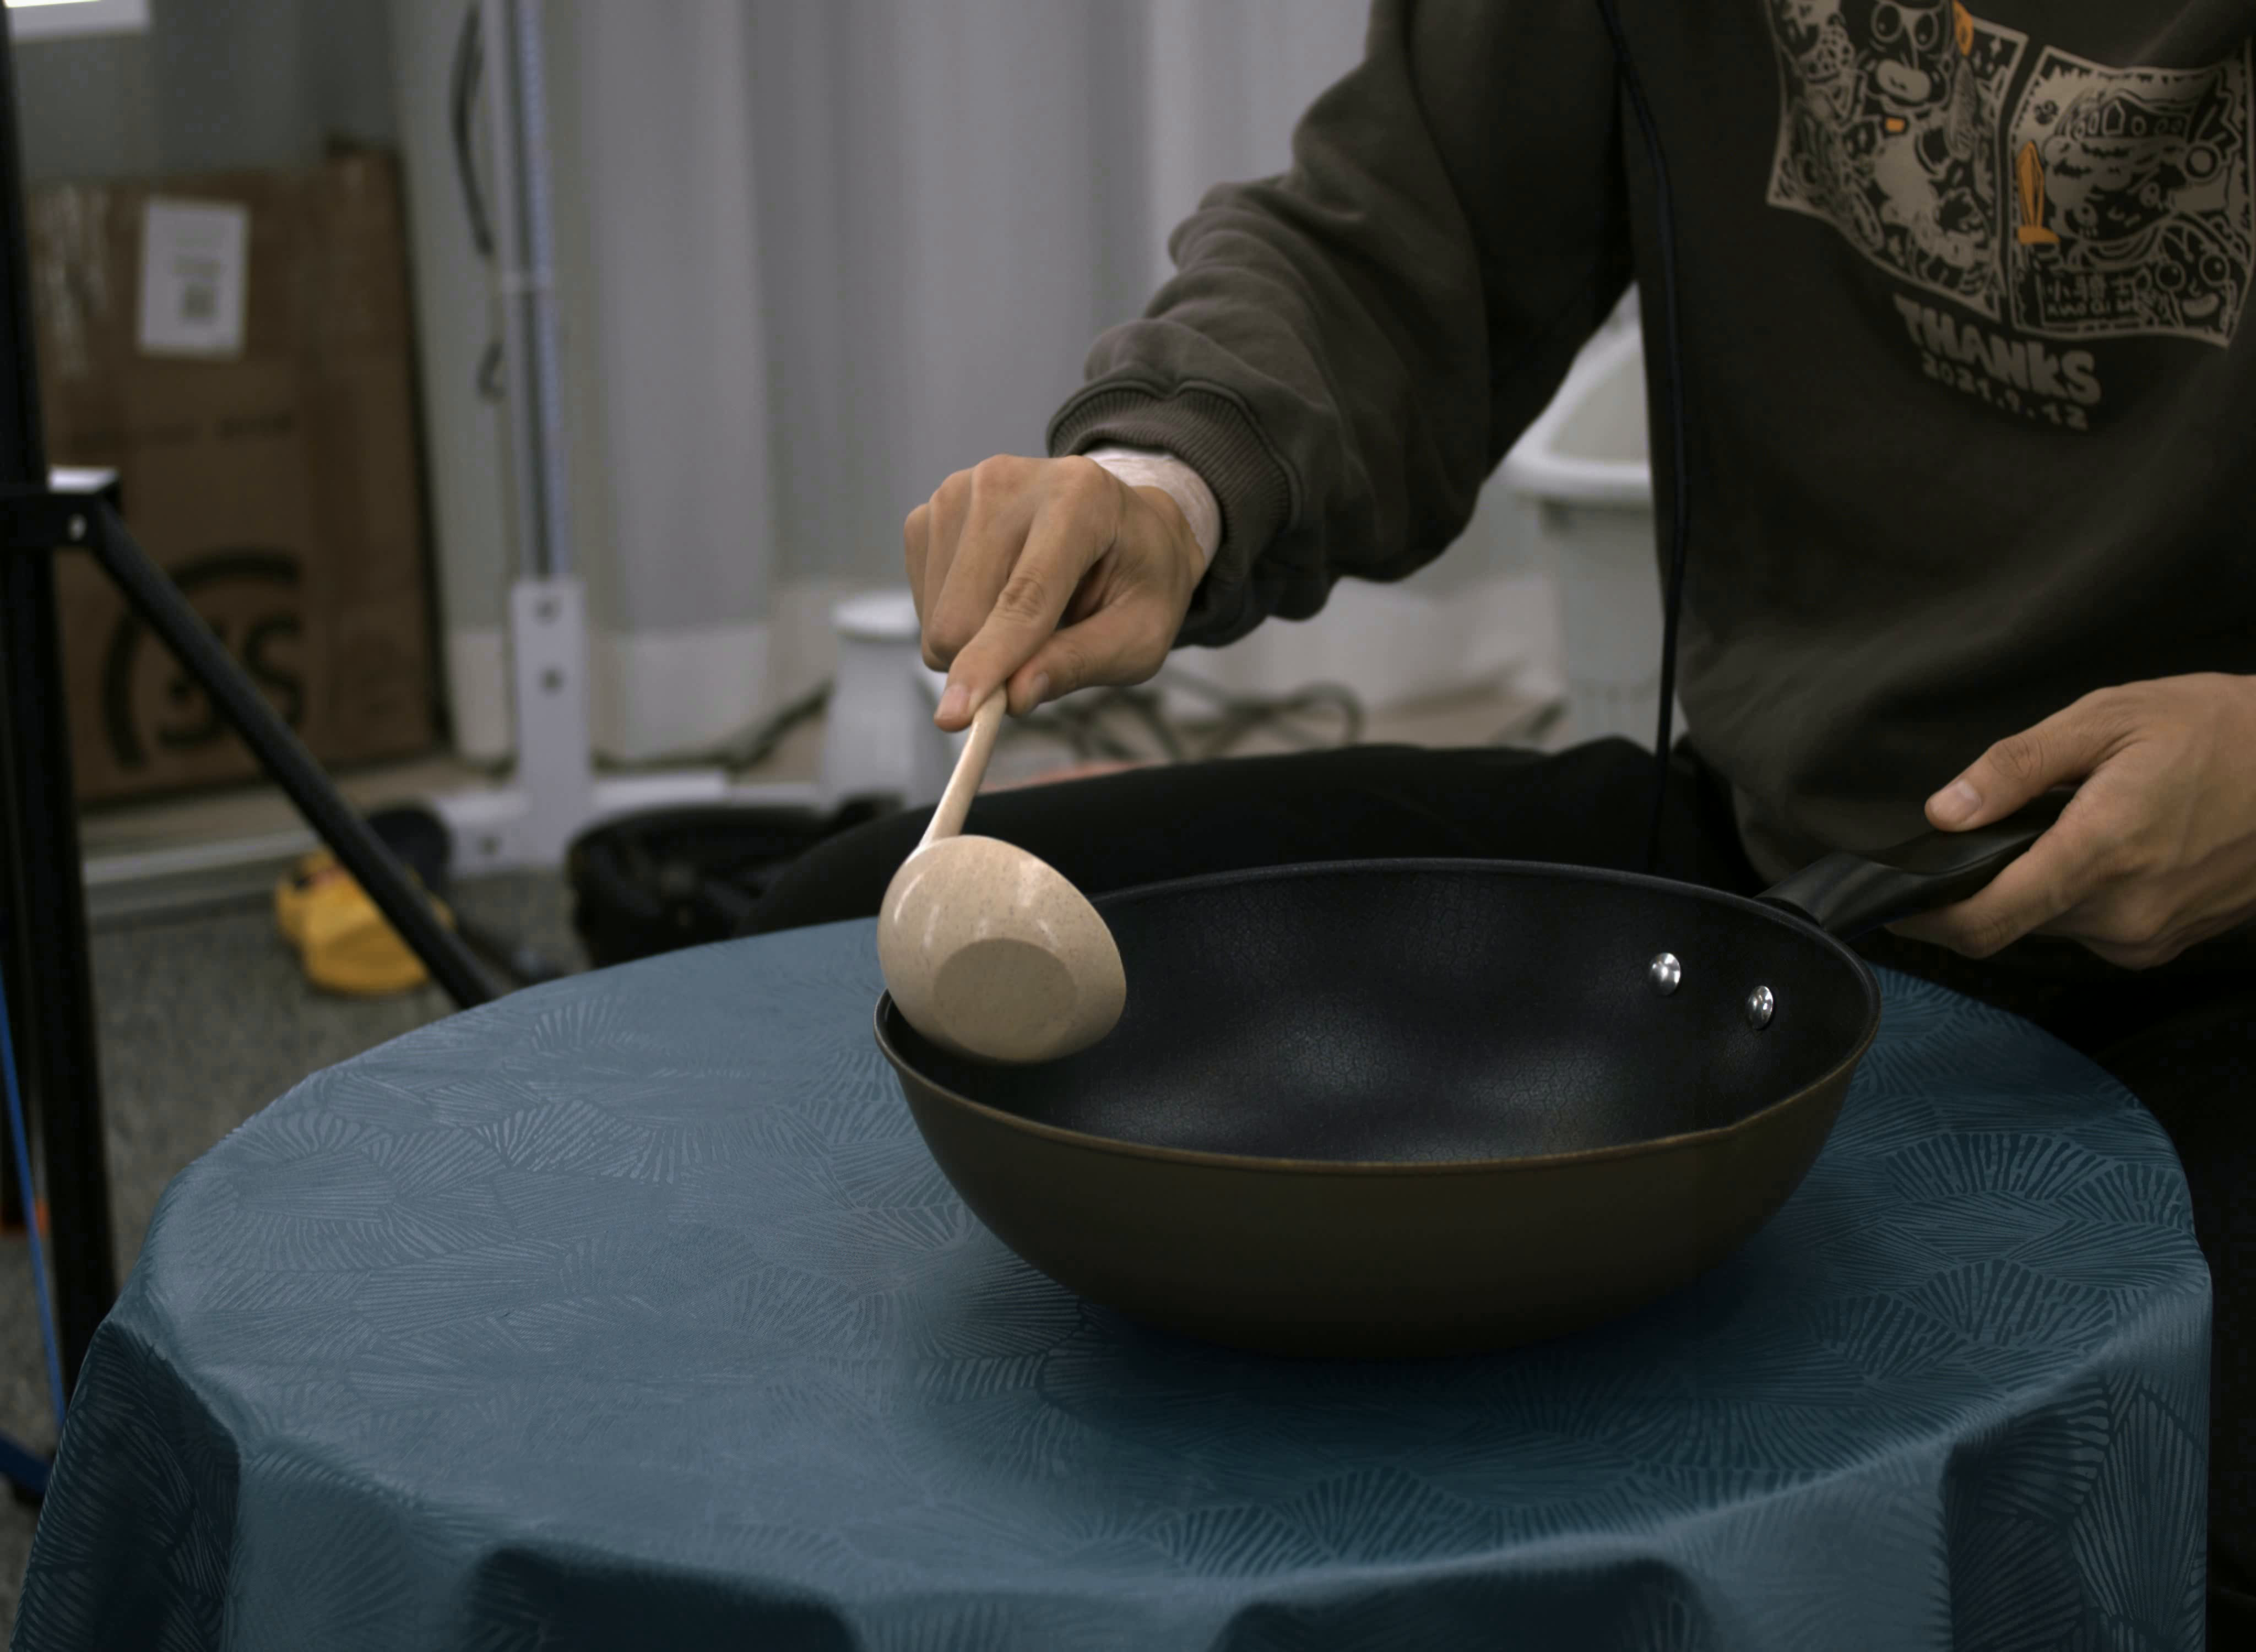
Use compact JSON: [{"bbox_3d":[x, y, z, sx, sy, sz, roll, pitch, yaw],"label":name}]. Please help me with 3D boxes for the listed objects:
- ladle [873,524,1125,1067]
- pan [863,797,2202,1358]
[{"bbox_3d":[-0.024,-0.025,1.548,0.073,0.071,0.255,-17,32,20],"label":"ladle"},{"bbox_3d":[0.140,0.067,1.530,0.452,0.087,0.295,-12,18,-34],"label":"pan"}]
